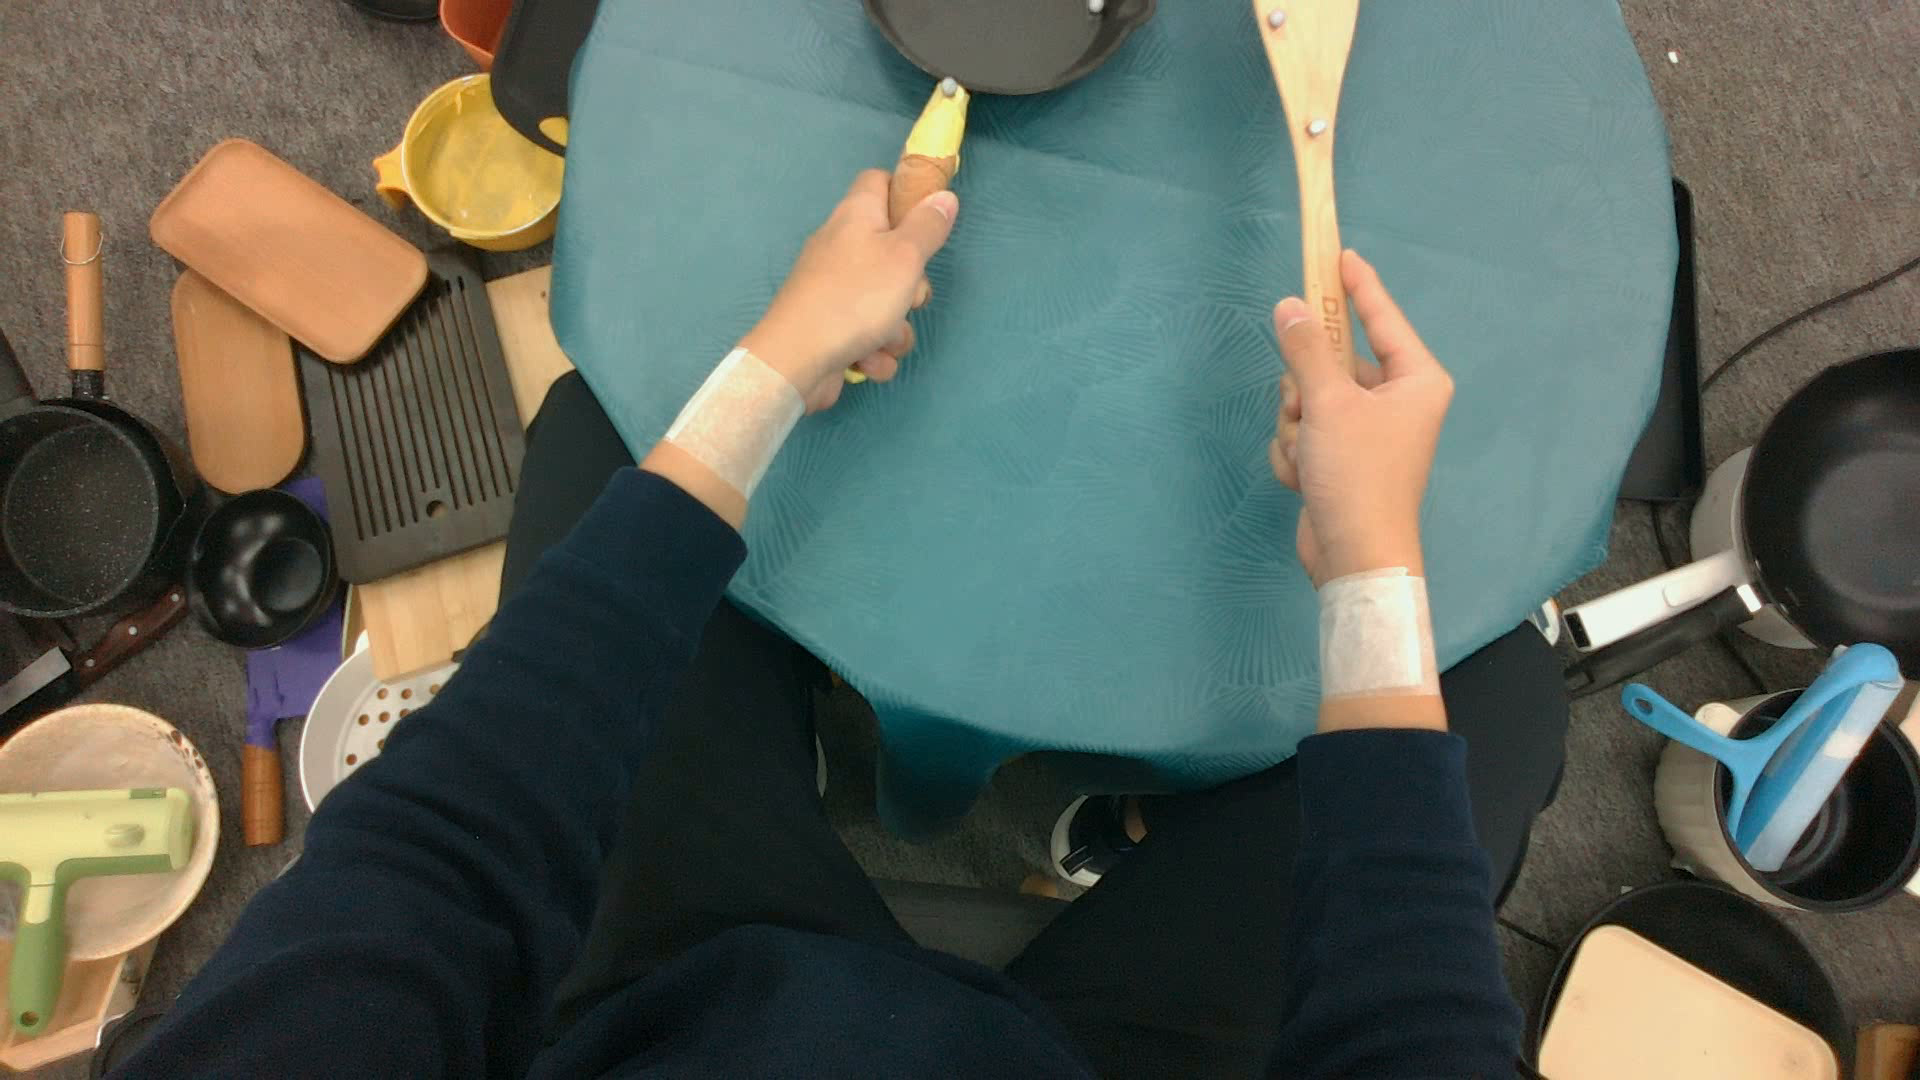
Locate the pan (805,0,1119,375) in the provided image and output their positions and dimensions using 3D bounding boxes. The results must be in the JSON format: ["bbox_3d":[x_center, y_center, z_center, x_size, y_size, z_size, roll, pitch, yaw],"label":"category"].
[{"bbox_3d":[-0.023,-0.228,0.702,0.169,0.049,0.325,19,75,-3],"label":"pan"}]

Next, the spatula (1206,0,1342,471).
[{"bbox_3d":[0.156,-0.191,0.673,0.080,0.016,0.328,3,74,-25],"label":"spatula"}]
